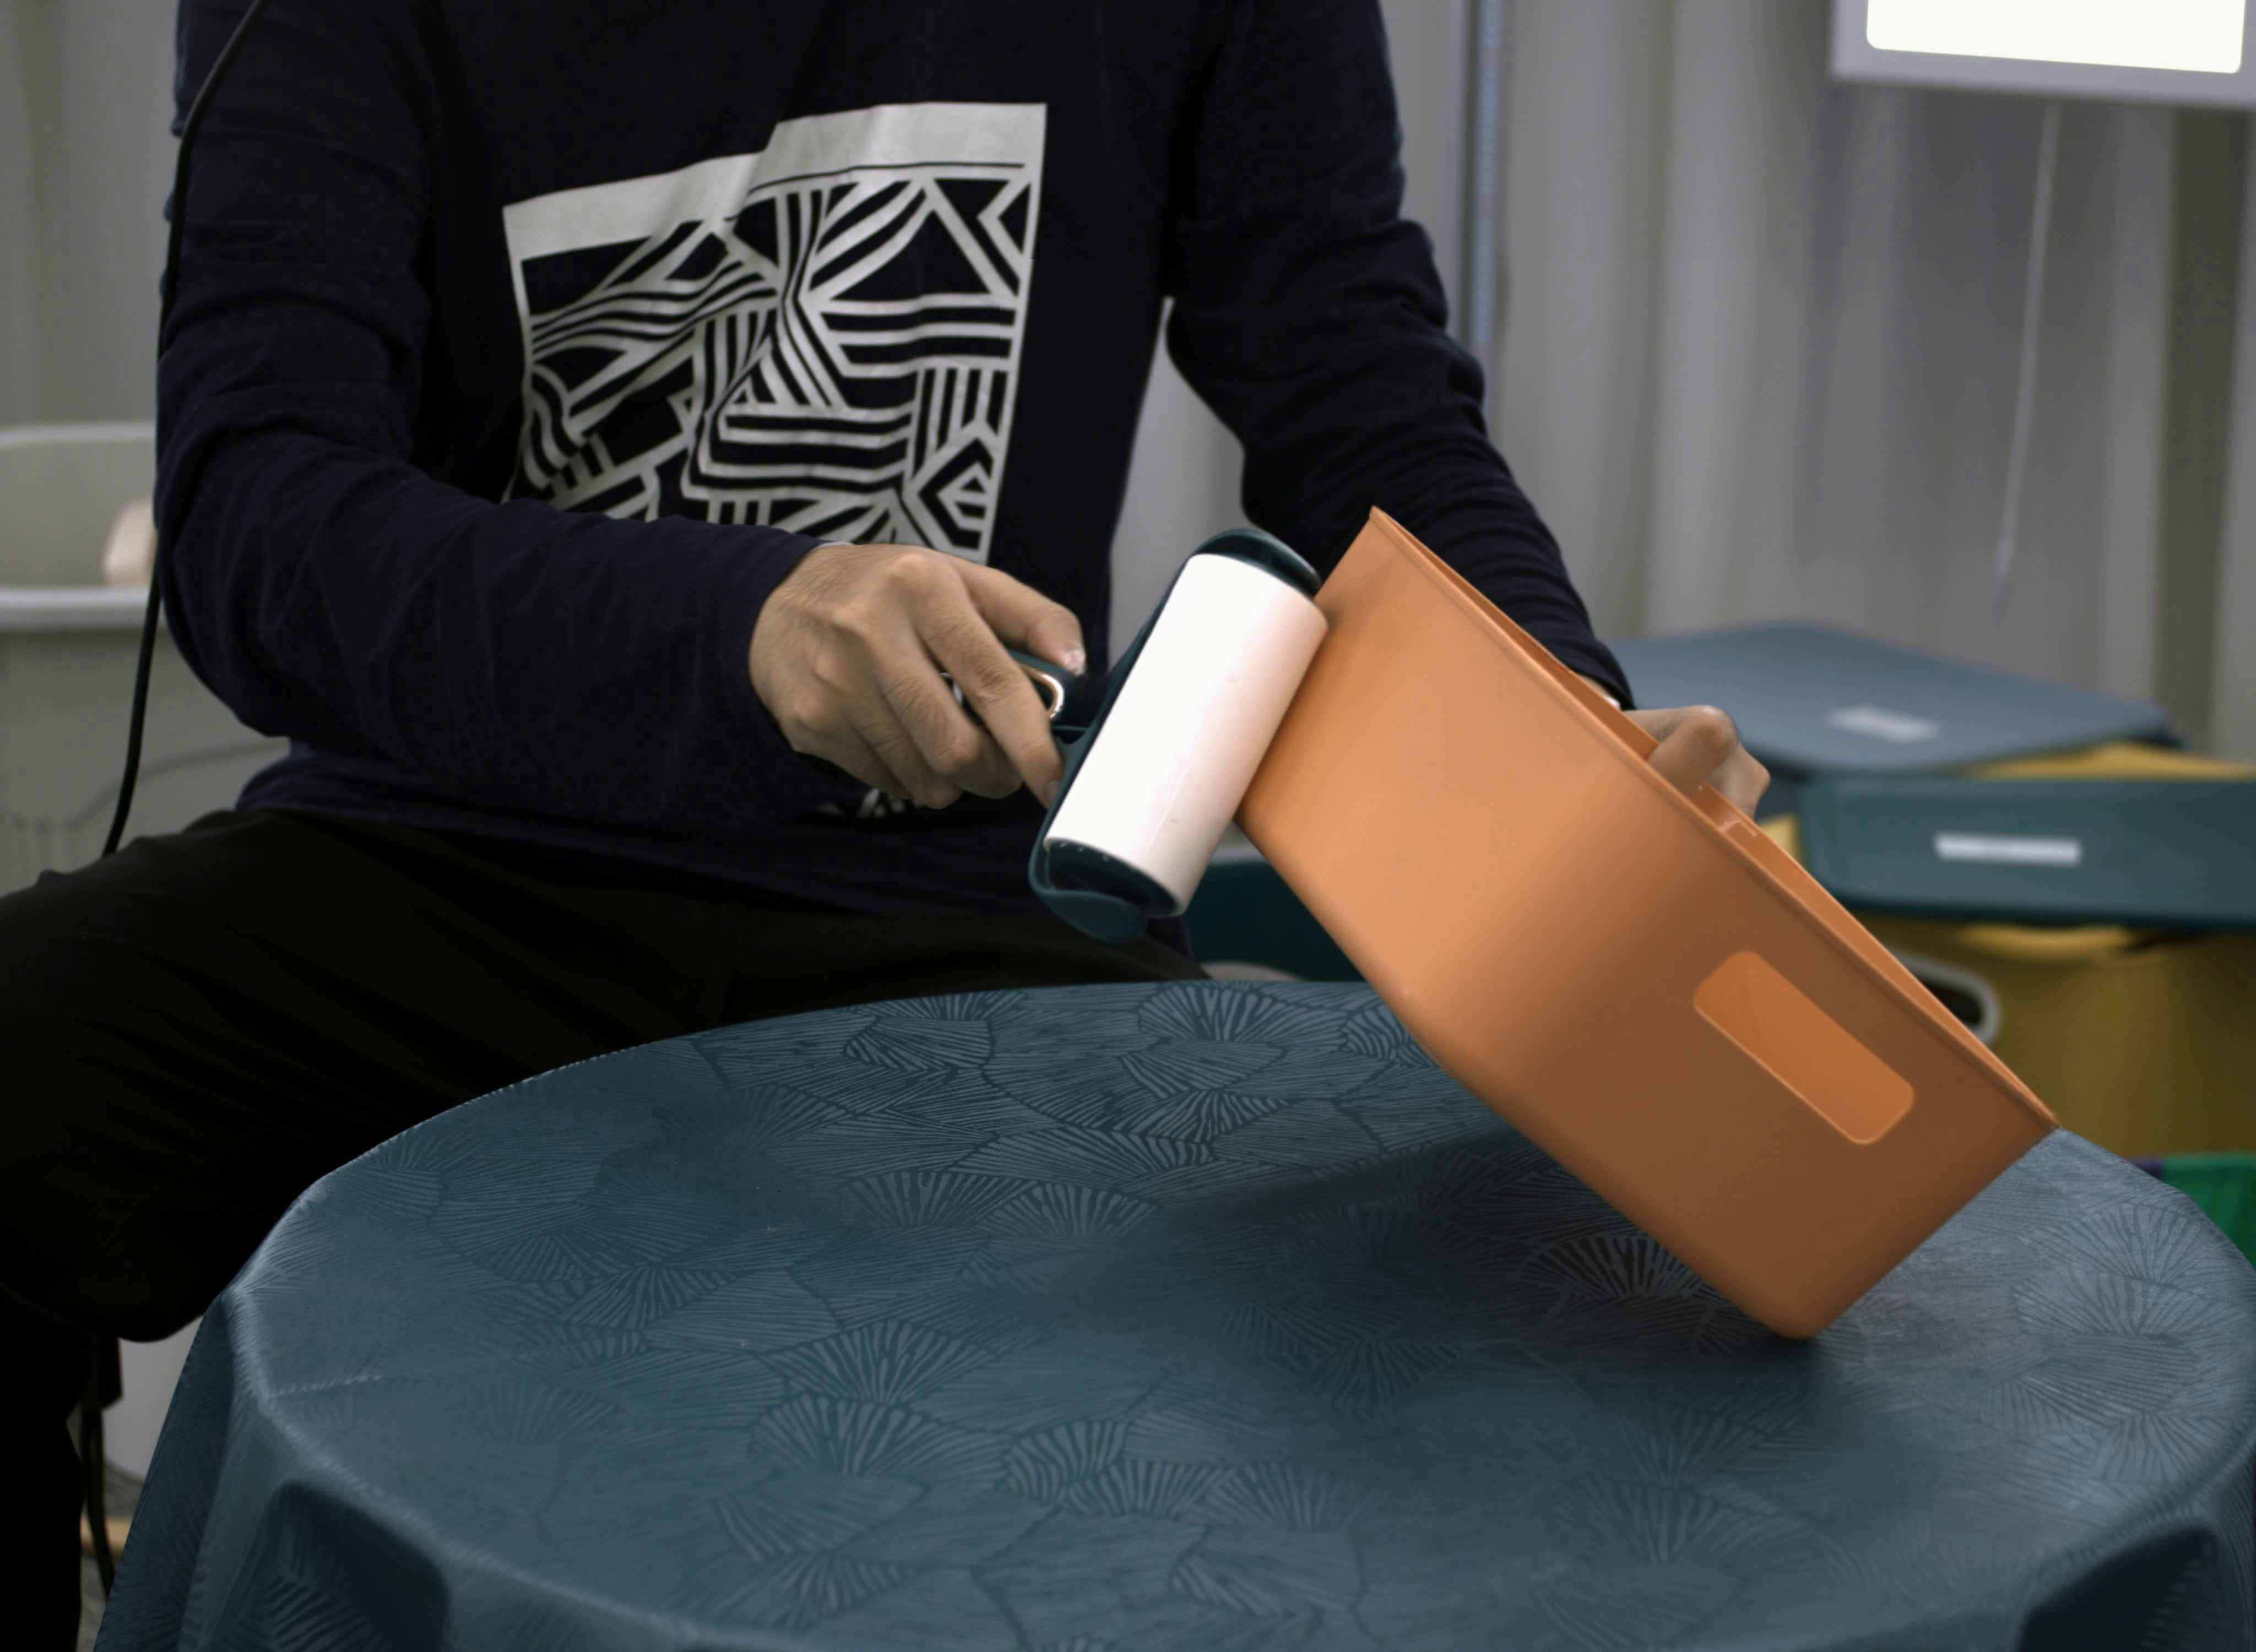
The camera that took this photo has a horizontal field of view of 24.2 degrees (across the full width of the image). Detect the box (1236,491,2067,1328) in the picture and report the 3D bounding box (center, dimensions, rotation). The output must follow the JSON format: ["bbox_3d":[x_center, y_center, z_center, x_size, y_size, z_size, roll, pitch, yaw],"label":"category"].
[{"bbox_3d":[0.138,0.025,1.554,0.201,0.102,0.270,39,6,-27],"label":"box"}]

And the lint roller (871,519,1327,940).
[{"bbox_3d":[-0.029,-0.038,1.610,0.178,0.134,0.049,12,-21,44],"label":"lint roller"}]
